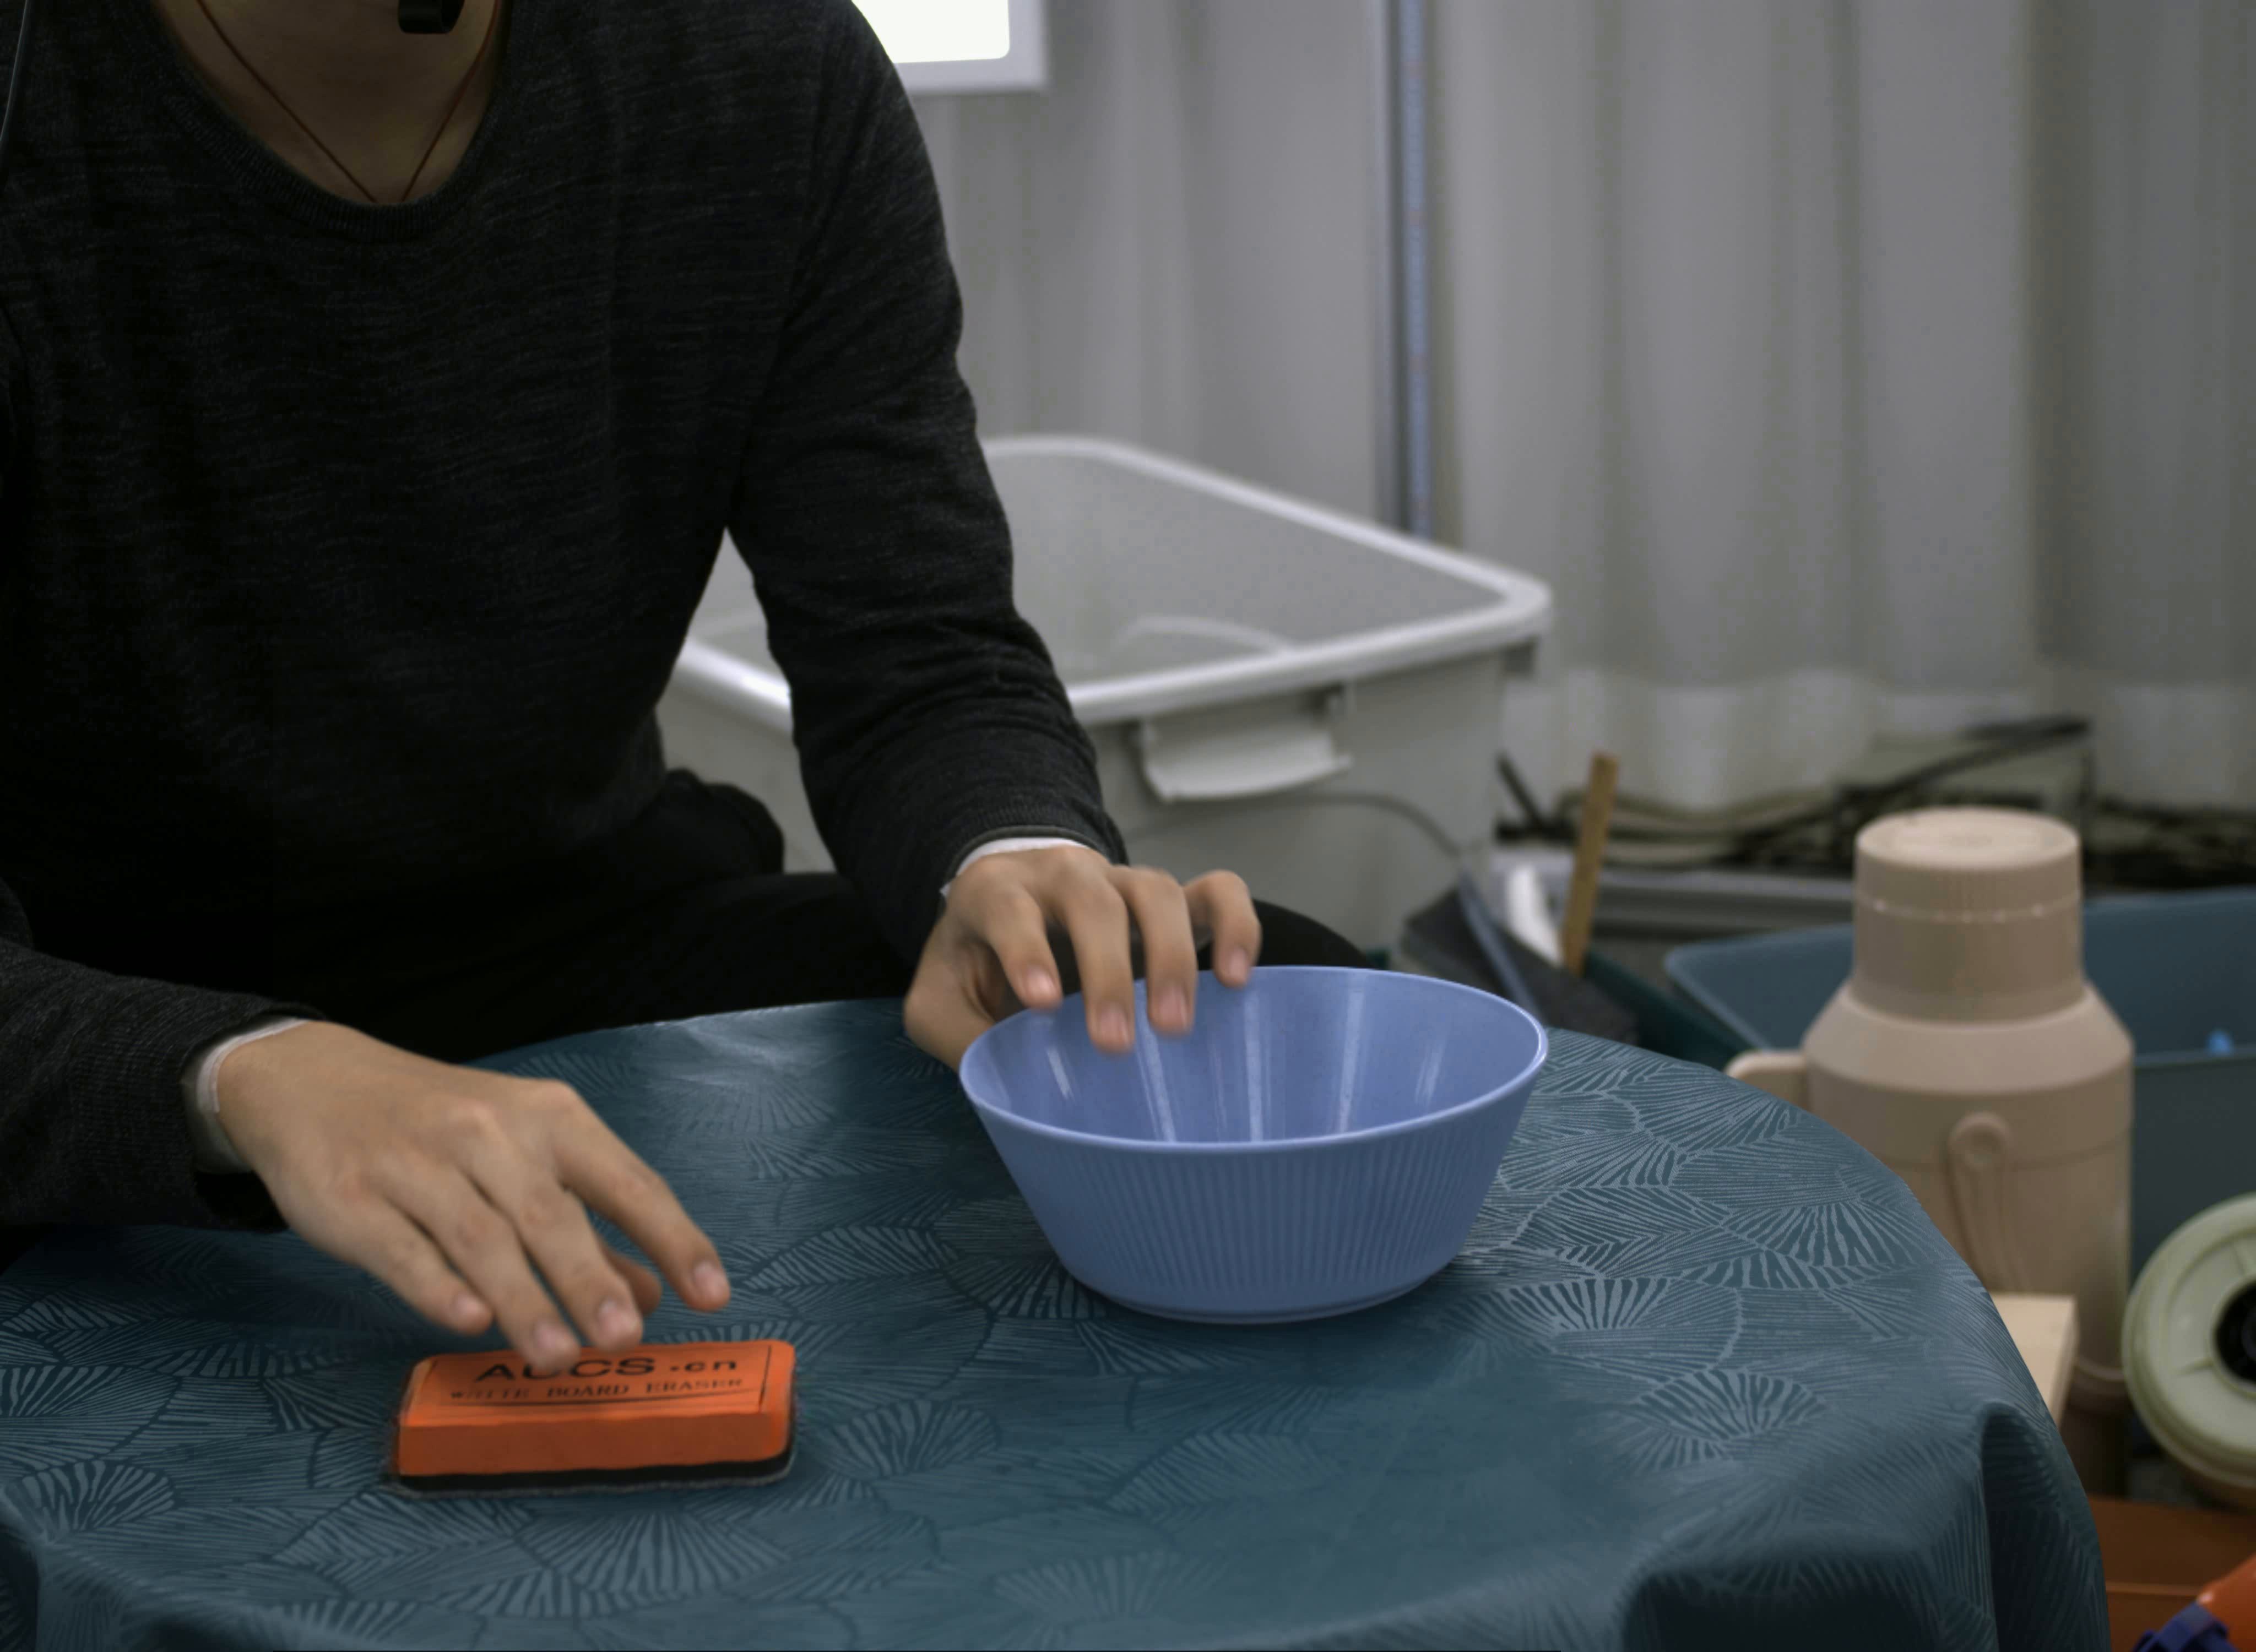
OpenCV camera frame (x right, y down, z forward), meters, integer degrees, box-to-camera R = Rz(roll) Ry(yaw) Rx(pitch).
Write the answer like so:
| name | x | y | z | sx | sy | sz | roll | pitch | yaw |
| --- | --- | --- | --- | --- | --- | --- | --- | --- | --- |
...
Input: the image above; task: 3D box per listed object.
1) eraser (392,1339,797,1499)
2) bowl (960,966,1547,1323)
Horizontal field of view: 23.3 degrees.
| name | x | y | z | sx | sy | sz | roll | pitch | yaw |
| --- | --- | --- | --- | --- | --- | --- | --- | --- | --- |
| eraser | -0.146 | 0.164 | 1.511 | 0.108 | 0.023 | 0.059 | -3 | 16 | 2 |
| bowl | 0.038 | 0.098 | 1.635 | 0.175 | 0.070 | 0.177 | -3 | 15 | 1 |
